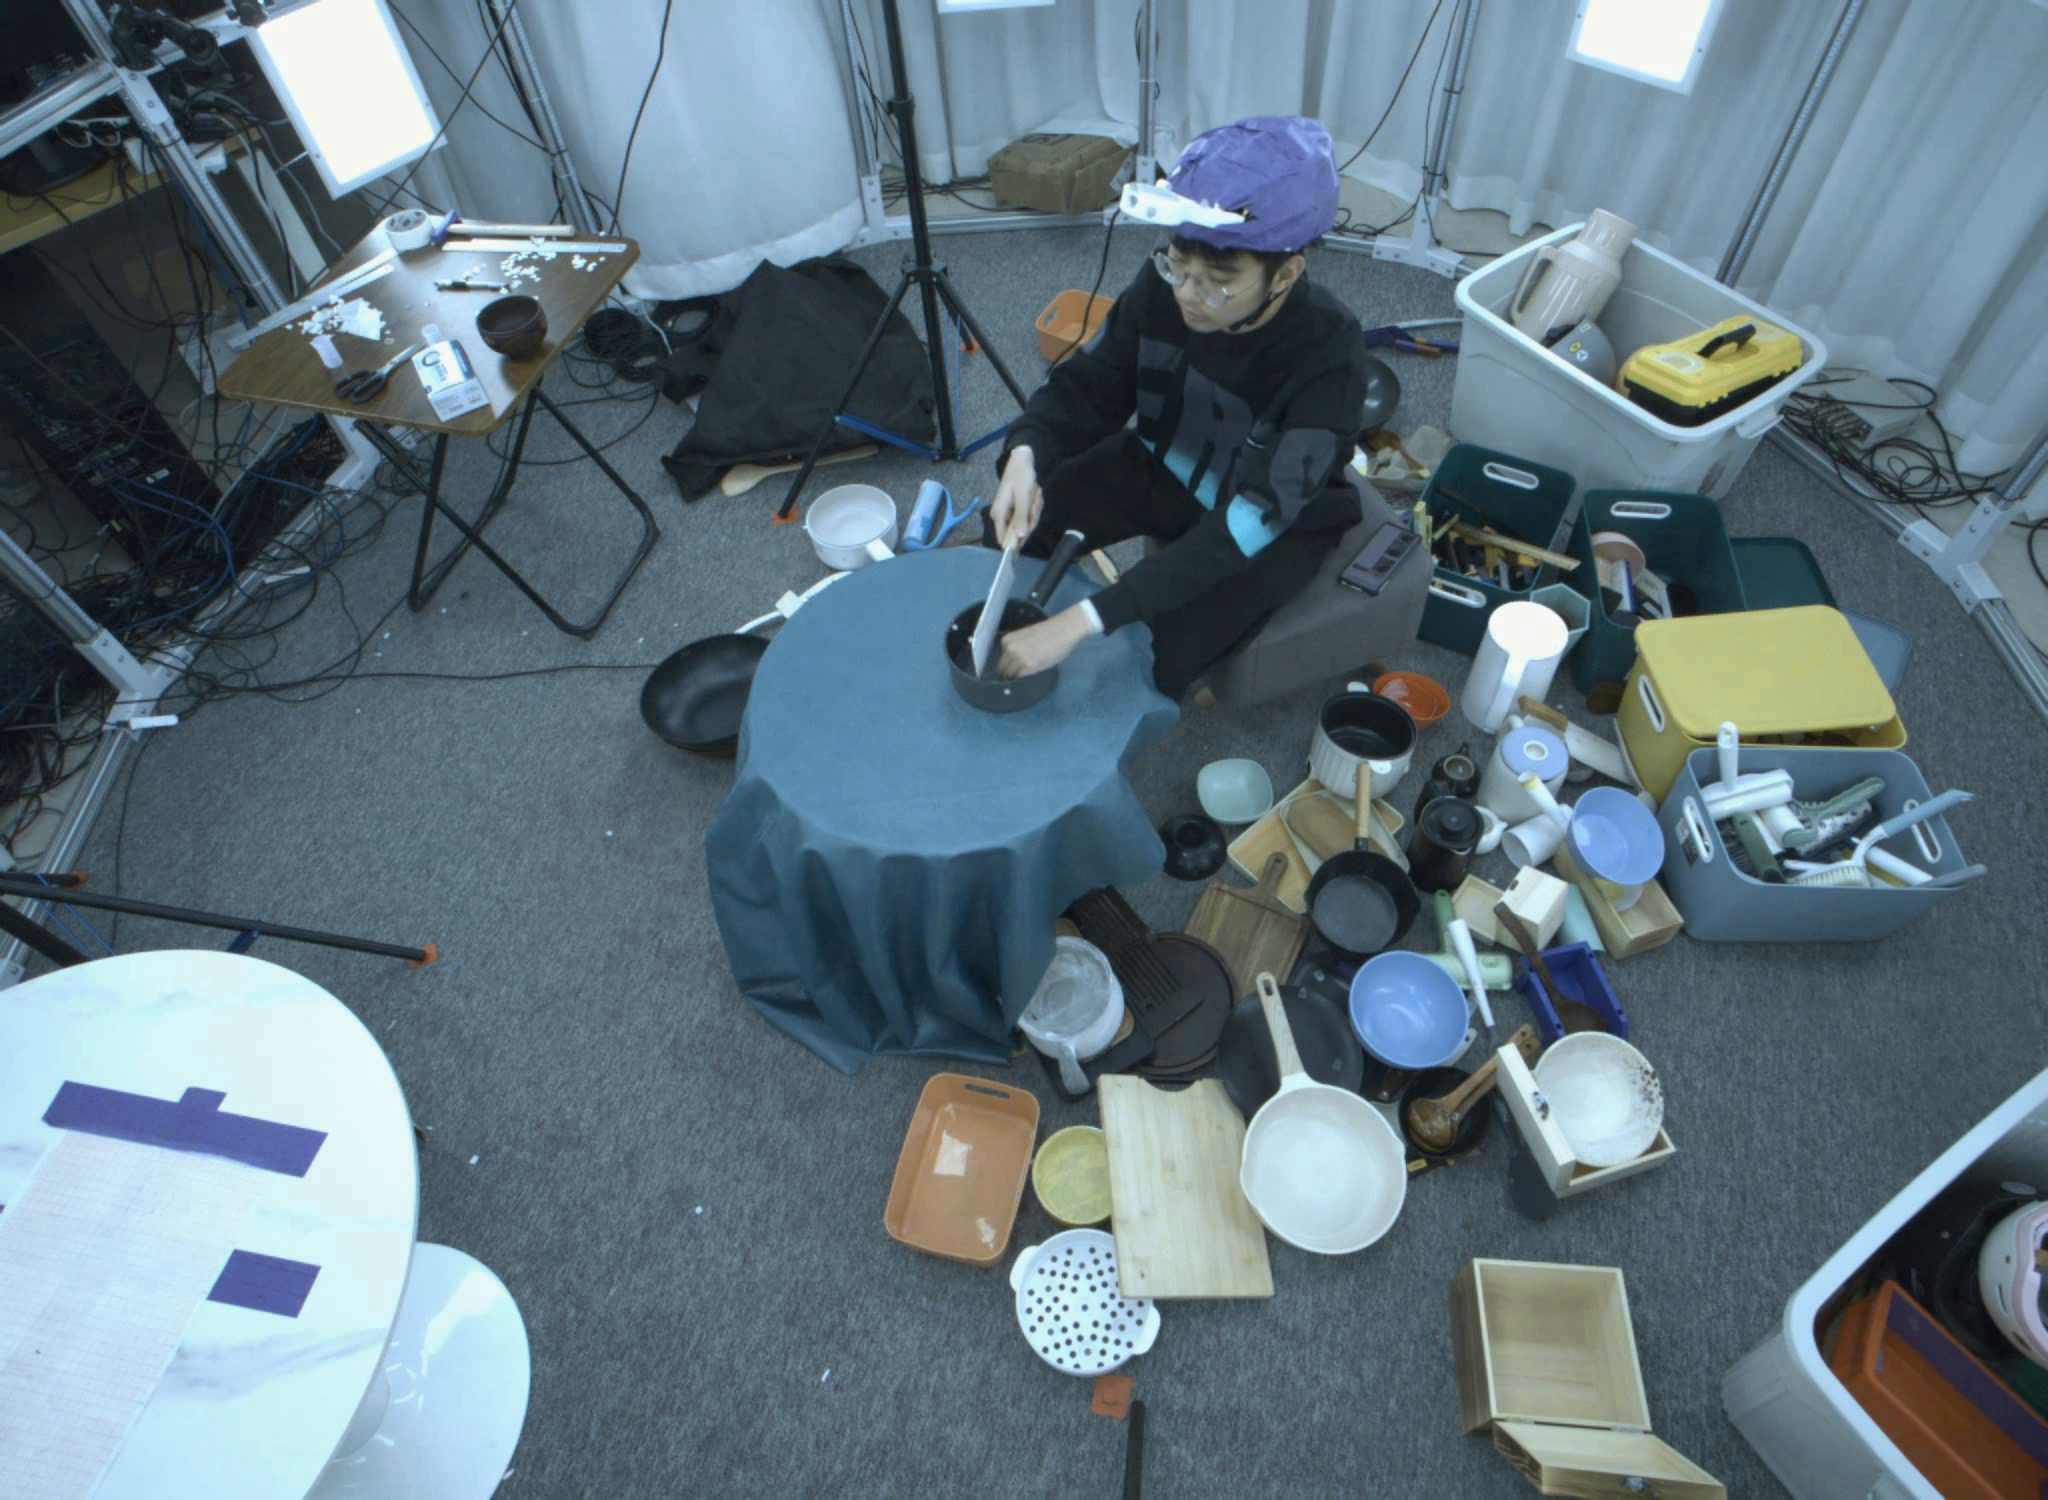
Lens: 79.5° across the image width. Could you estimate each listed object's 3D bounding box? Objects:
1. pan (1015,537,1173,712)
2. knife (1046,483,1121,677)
[{"bbox_3d":[0.121,-0.196,1.869,0.169,0.087,0.330,31,62,19],"label":"pan"},{"bbox_3d":[0.083,-0.257,1.789,0.021,0.115,0.315,16,70,14],"label":"knife"}]
